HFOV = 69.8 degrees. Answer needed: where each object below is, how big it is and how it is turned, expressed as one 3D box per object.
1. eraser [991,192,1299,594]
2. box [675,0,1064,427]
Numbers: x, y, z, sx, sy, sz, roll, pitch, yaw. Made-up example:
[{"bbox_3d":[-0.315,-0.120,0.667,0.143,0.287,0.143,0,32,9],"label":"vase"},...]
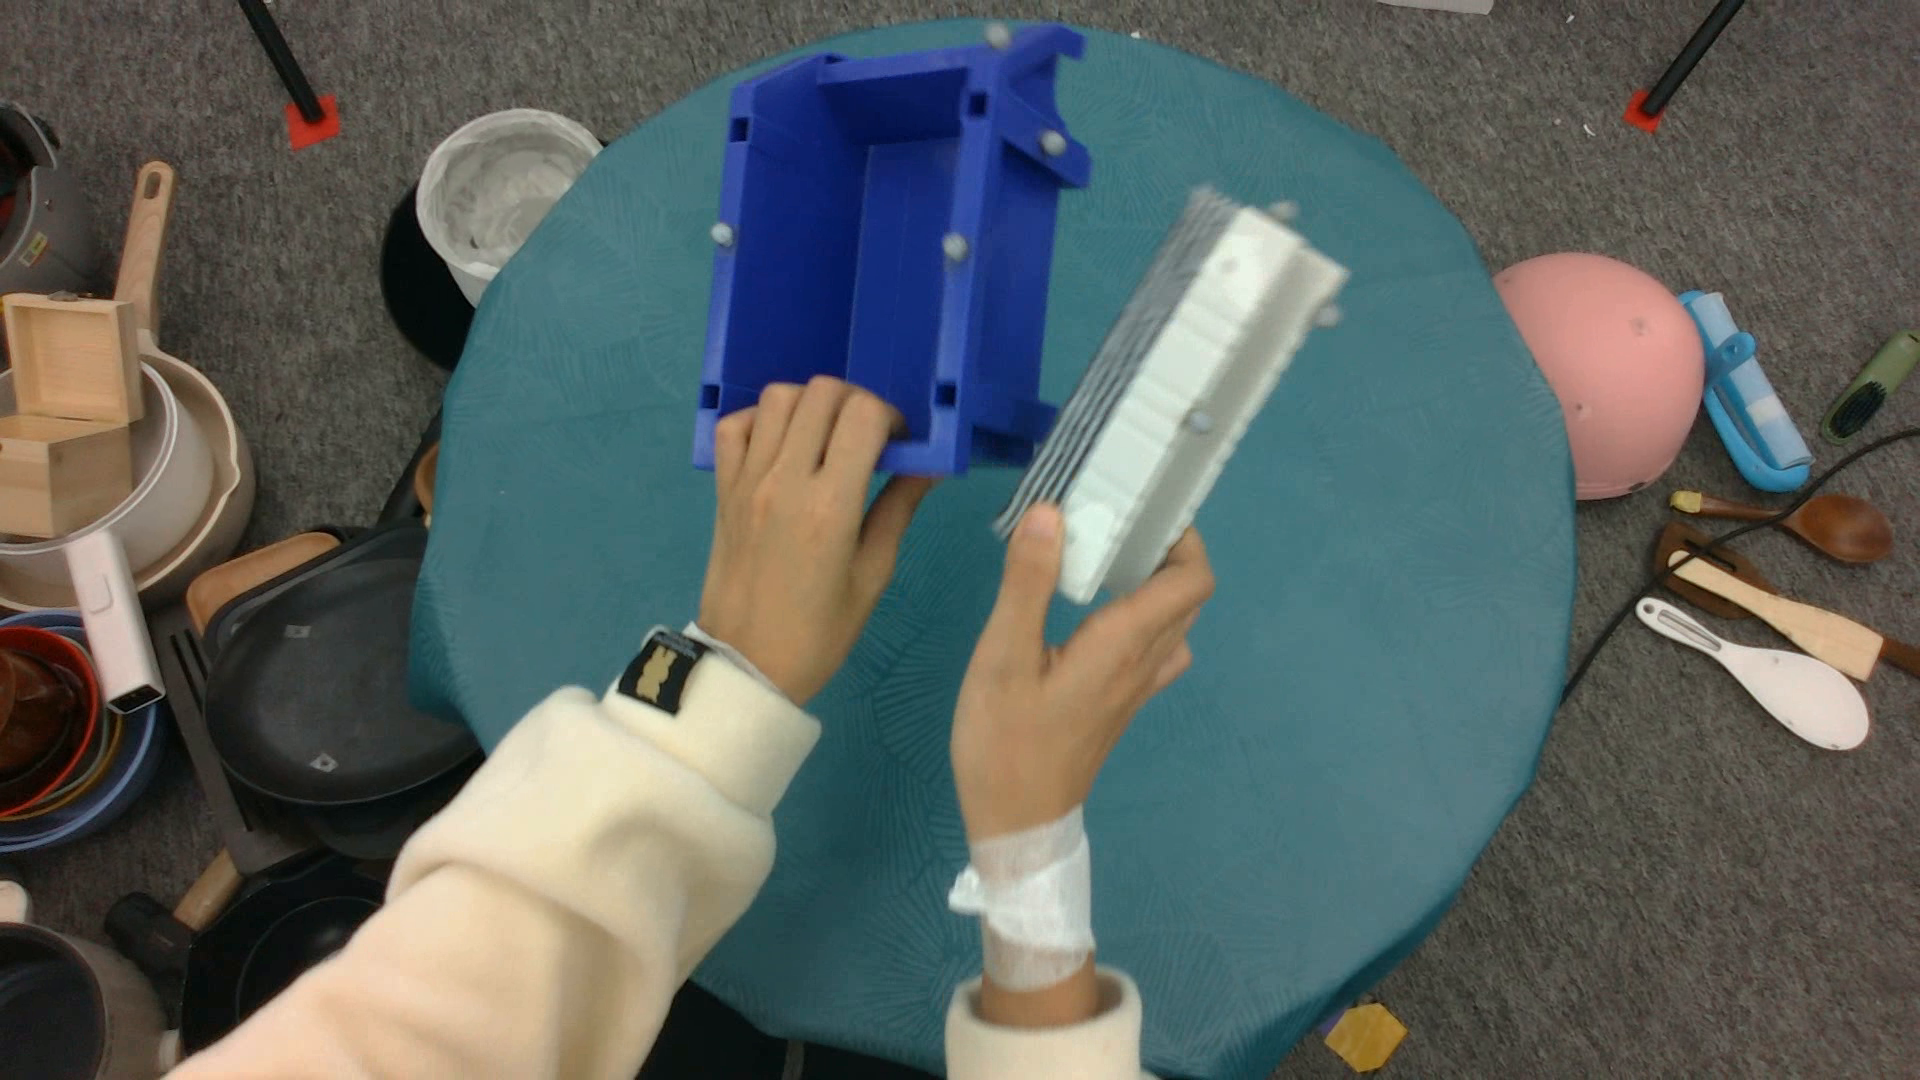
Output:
[{"bbox_3d":[0.062,-0.049,0.480,0.046,0.050,0.134,31,105,30],"label":"eraser"},{"bbox_3d":[-0.035,-0.129,0.543,0.124,0.082,0.179,2,87,31],"label":"box"}]
